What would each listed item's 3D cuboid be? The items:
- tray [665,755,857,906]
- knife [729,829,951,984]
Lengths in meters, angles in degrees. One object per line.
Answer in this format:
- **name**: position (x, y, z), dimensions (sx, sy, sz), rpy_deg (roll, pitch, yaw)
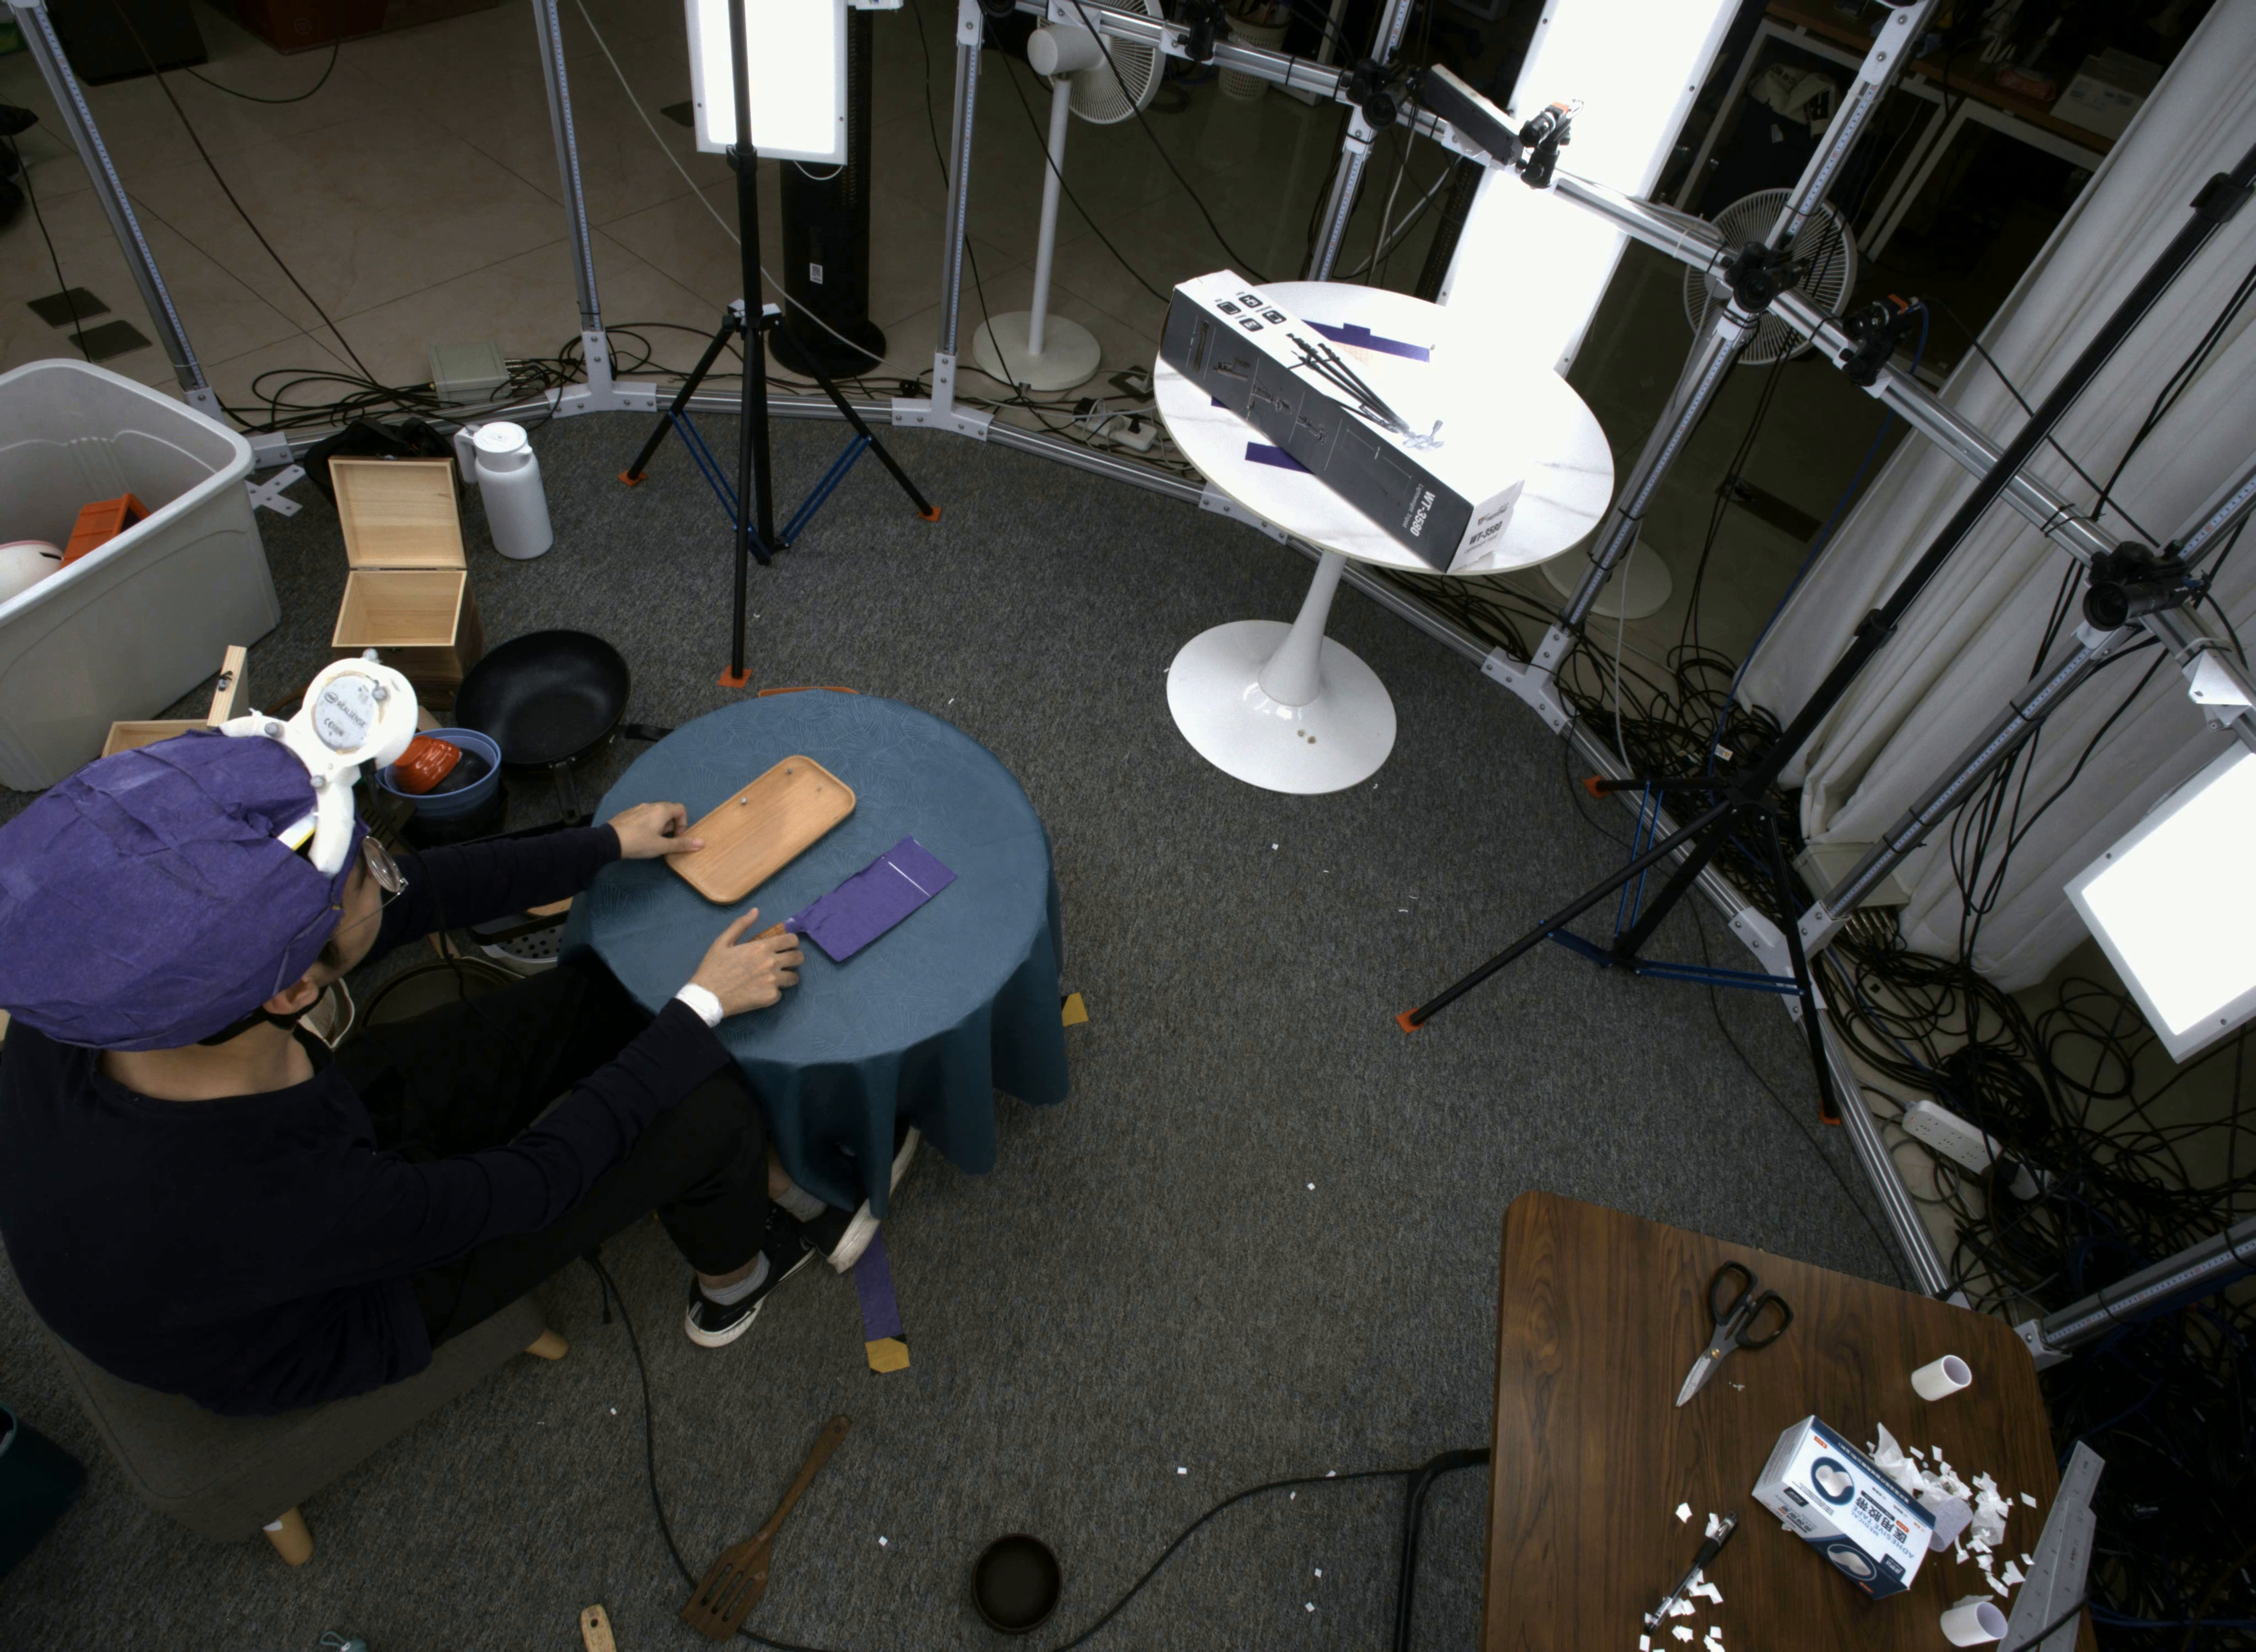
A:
- **tray**: position (-0.482, 0.002, 1.708), dimensions (0.127, 0.023, 0.251), rpy_deg (37, 55, 17)
- **knife**: position (-0.357, 0.112, 1.652), dimensions (0.102, 0.033, 0.315), rpy_deg (39, 54, 15)
